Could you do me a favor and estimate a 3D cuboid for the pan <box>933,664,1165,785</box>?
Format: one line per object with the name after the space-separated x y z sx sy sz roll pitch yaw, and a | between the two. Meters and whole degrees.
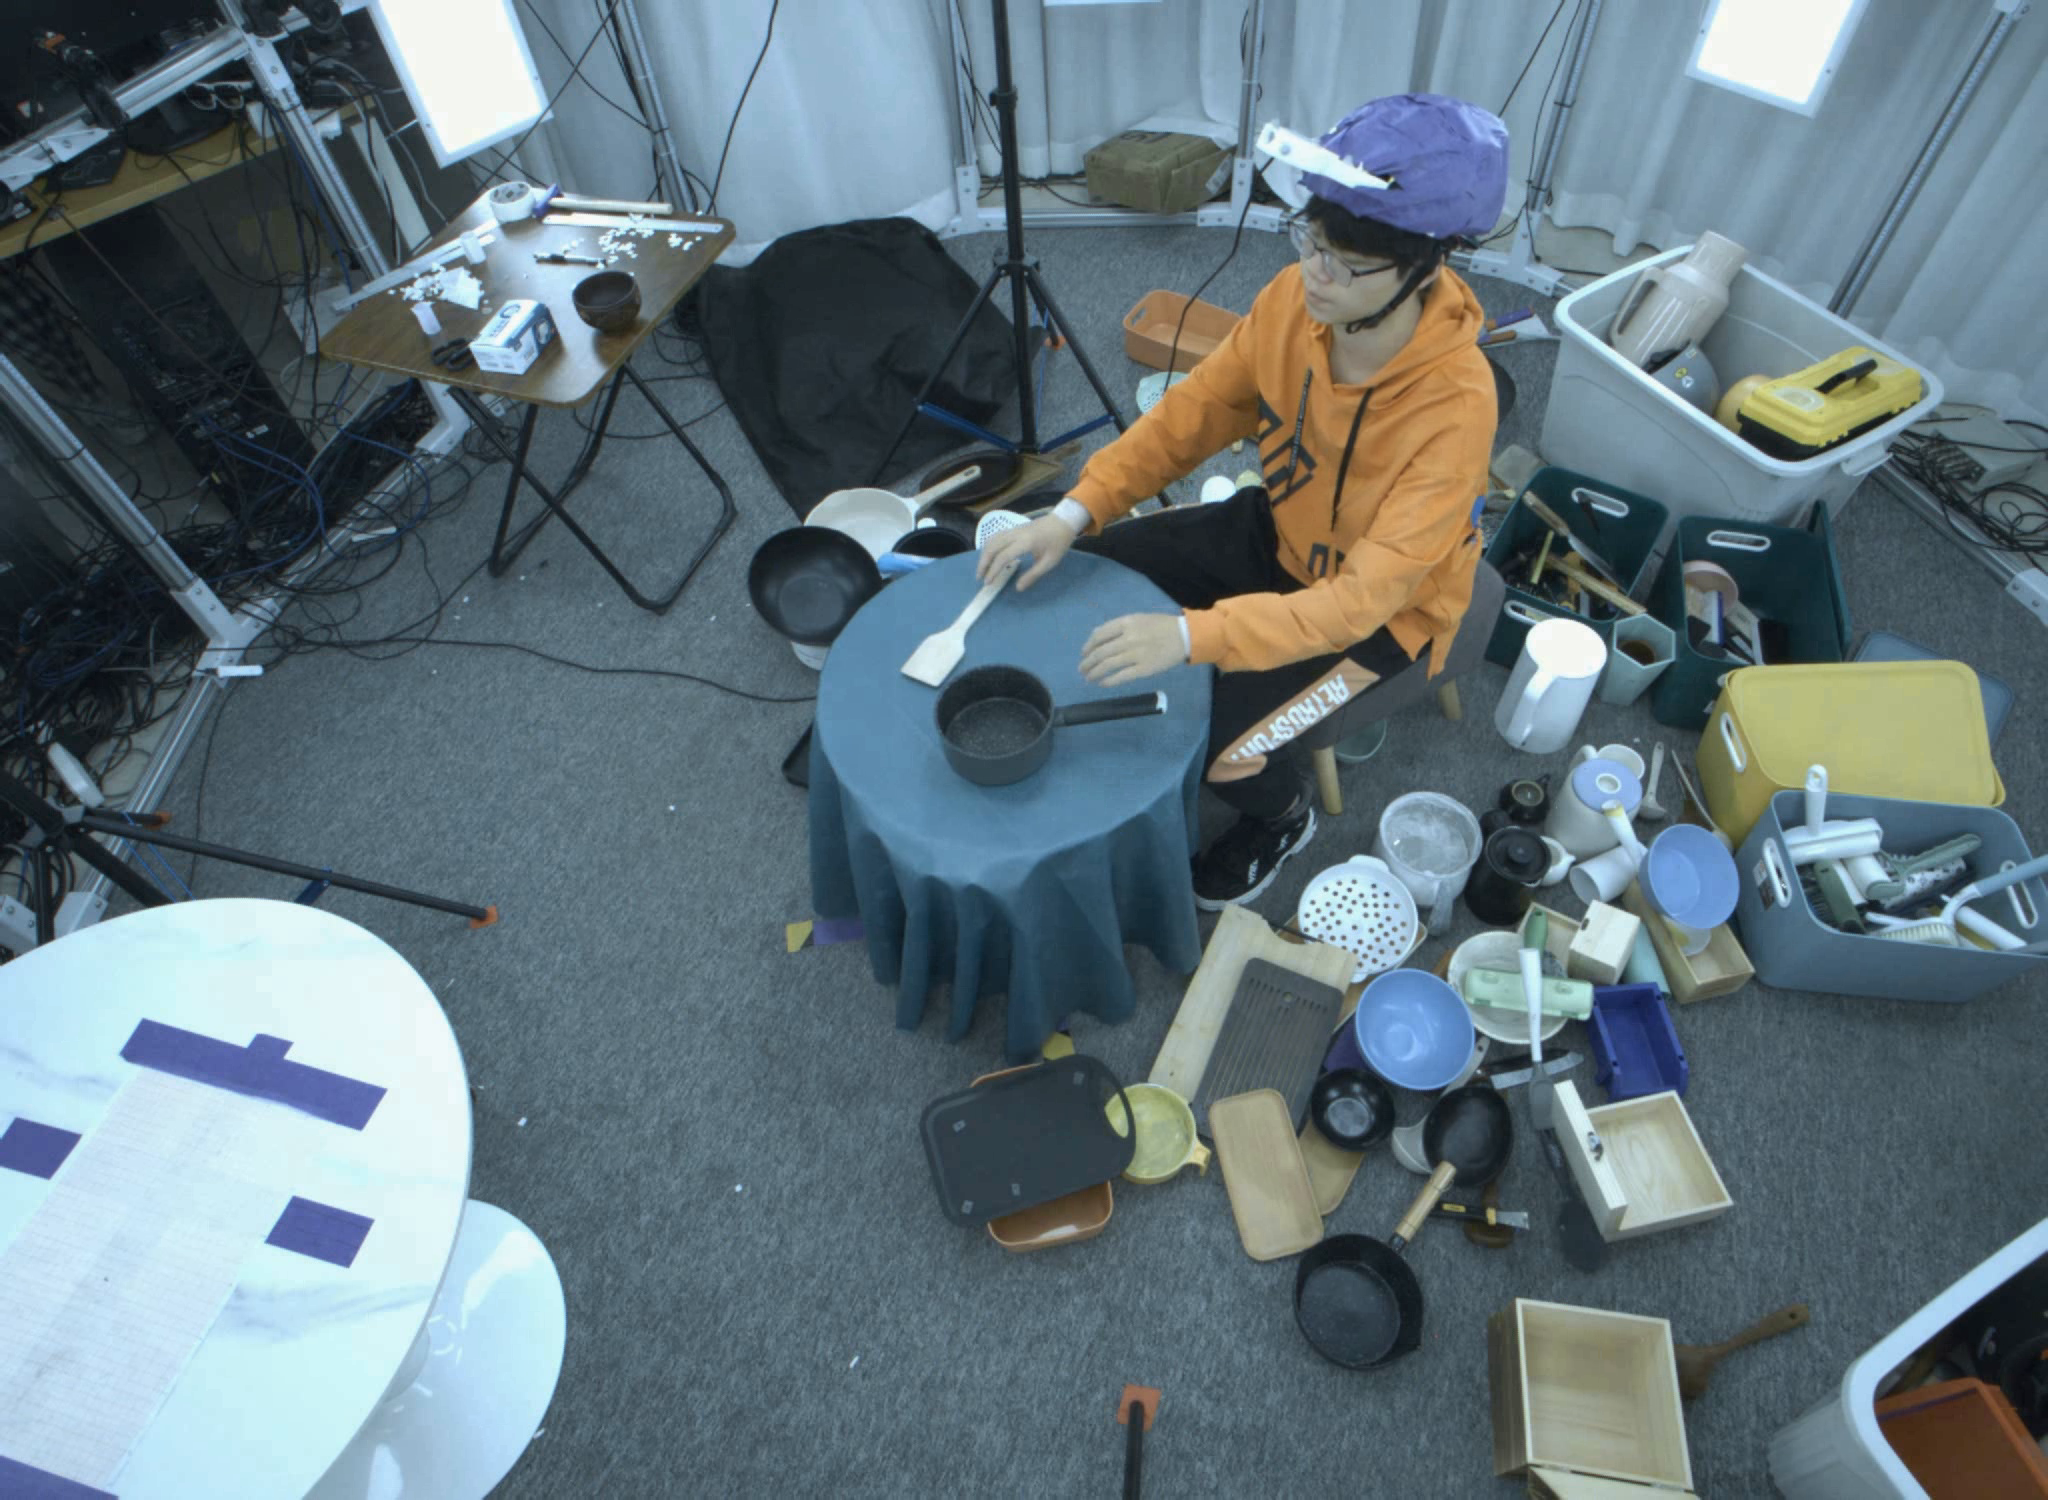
0.038 -0.038 1.761 0.328 0.087 0.170 -1 55 4 | pan

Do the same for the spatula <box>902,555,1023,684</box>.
-0.087 -0.213 1.935 0.071 0.011 0.294 23 59 21 | spatula
